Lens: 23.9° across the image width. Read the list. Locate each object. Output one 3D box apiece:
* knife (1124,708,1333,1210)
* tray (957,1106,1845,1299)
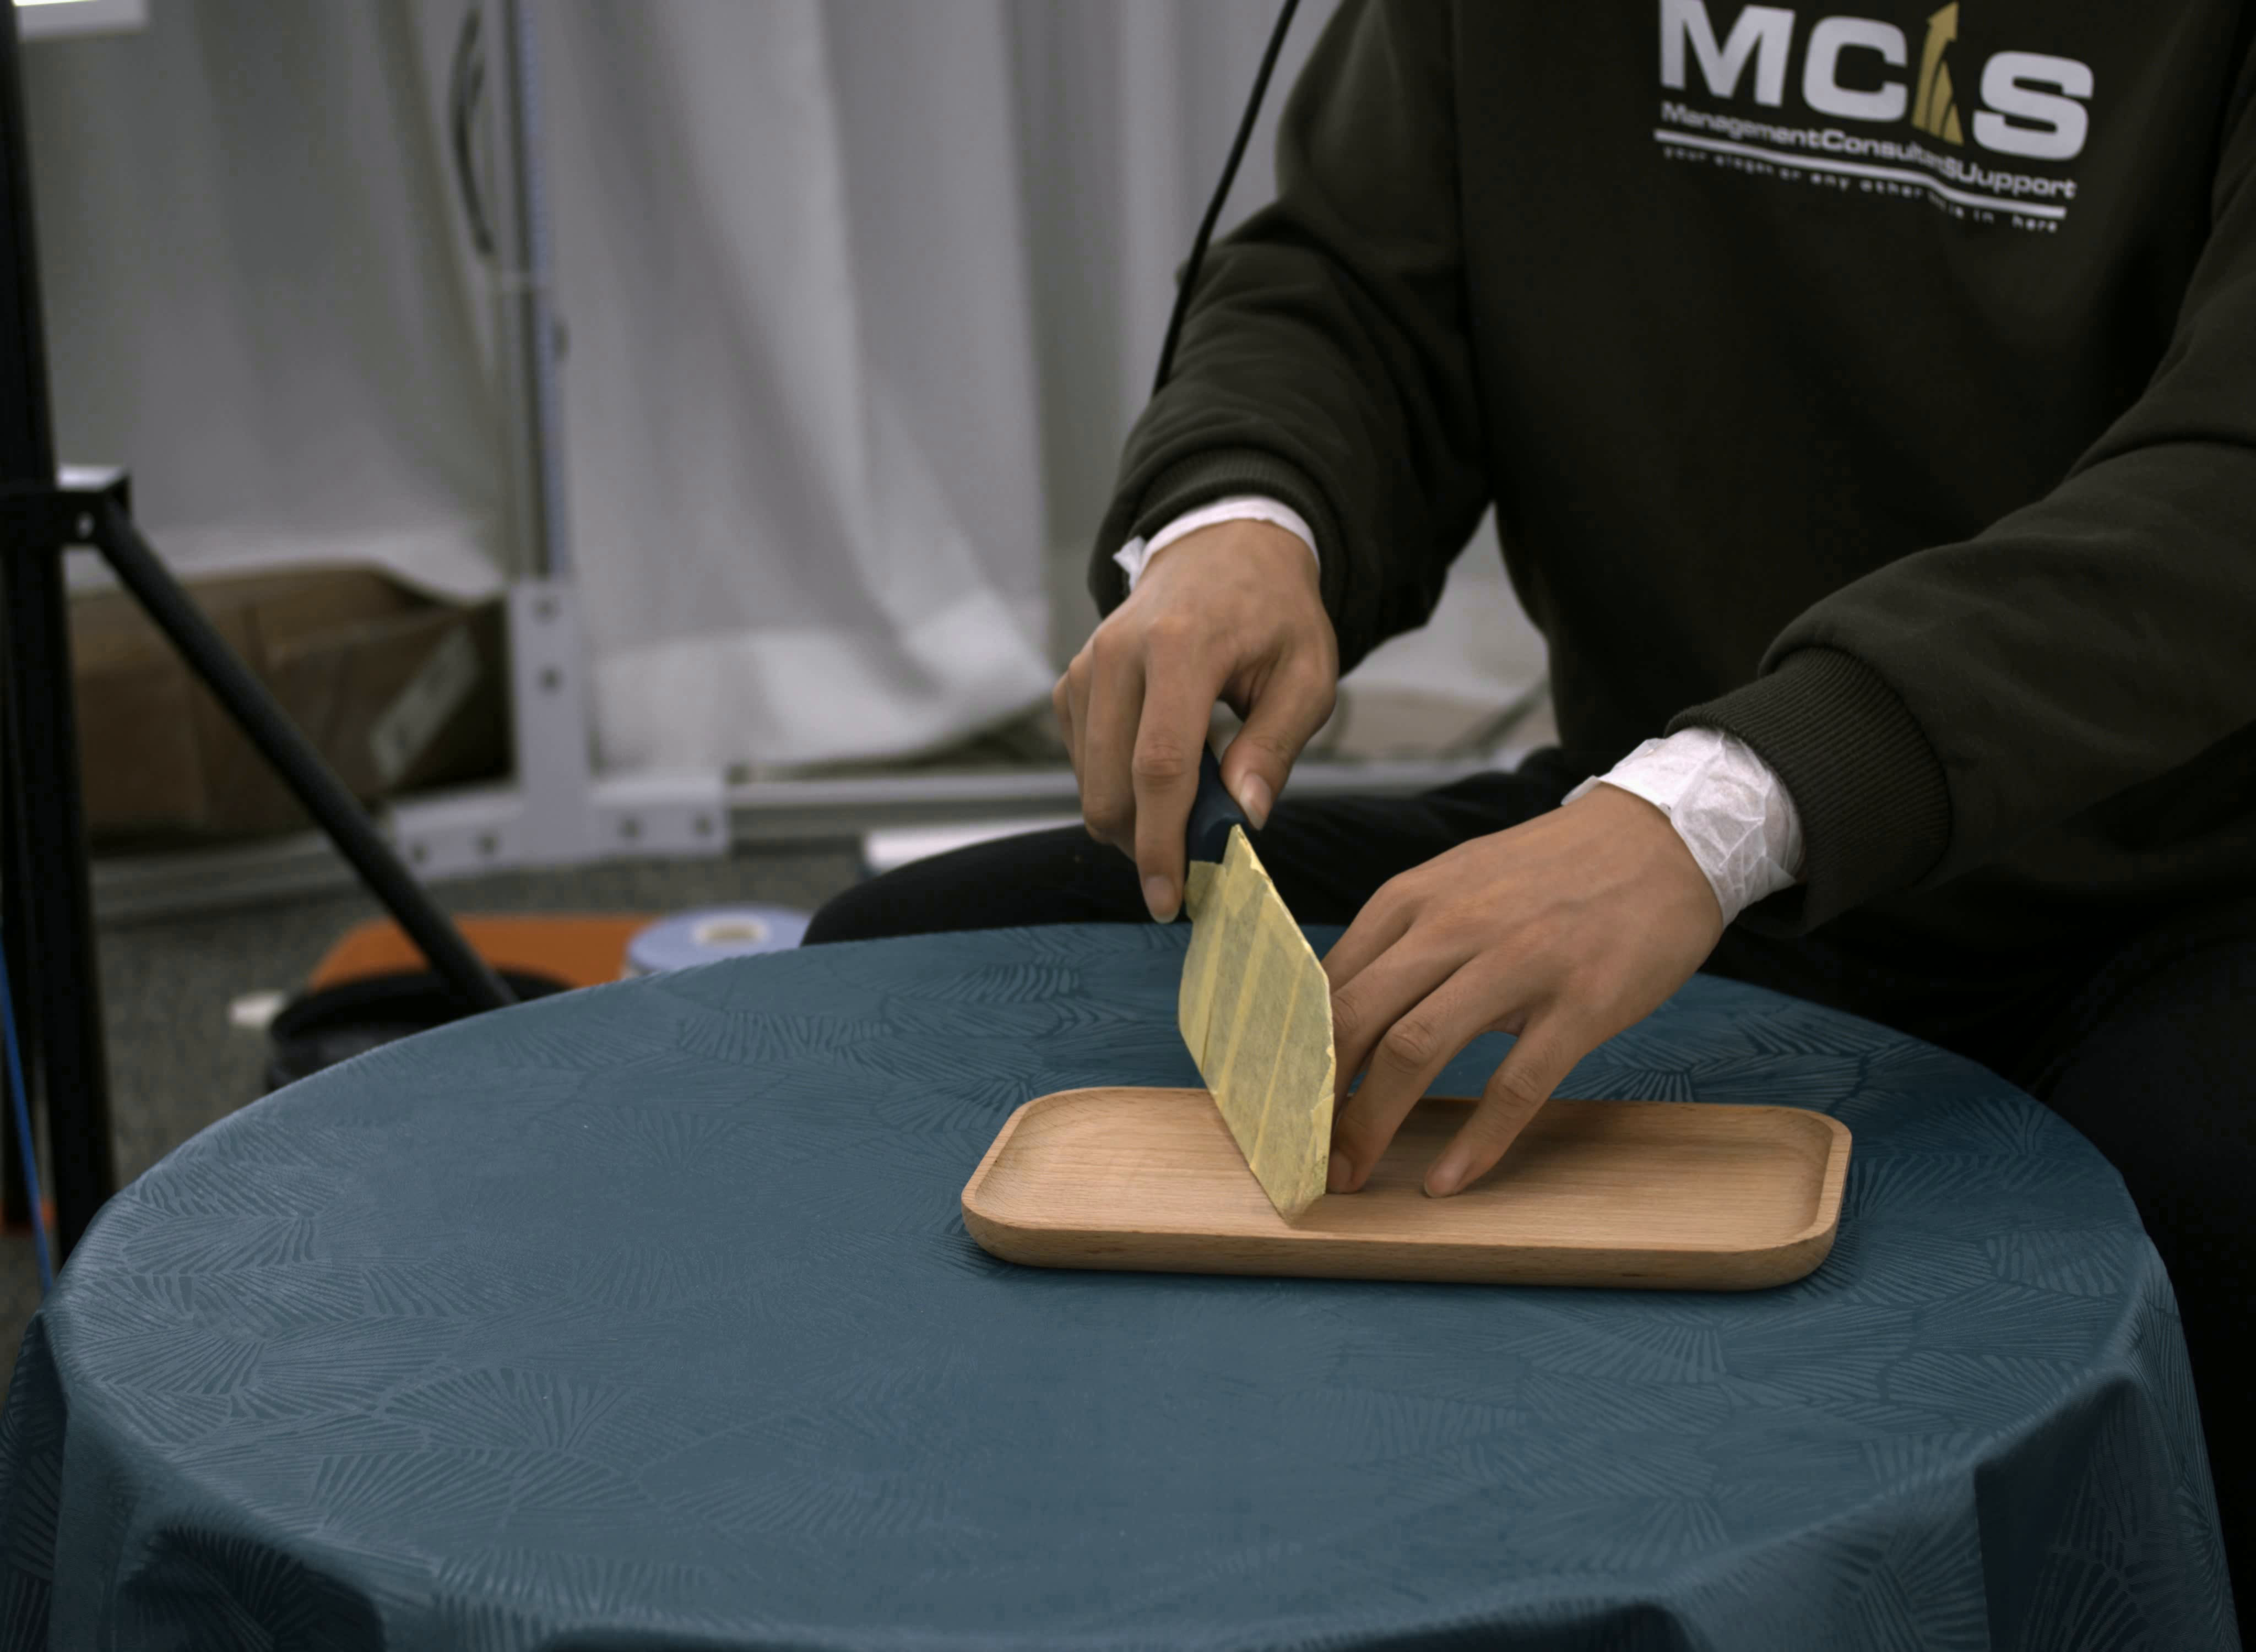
[{"bbox_3d":[0.029,0.035,1.613,0.027,0.081,0.293,11,22,-14],"label":"knife"},{"bbox_3d":[0.080,0.109,1.531,0.252,0.023,0.129,-2,12,14],"label":"tray"}]
